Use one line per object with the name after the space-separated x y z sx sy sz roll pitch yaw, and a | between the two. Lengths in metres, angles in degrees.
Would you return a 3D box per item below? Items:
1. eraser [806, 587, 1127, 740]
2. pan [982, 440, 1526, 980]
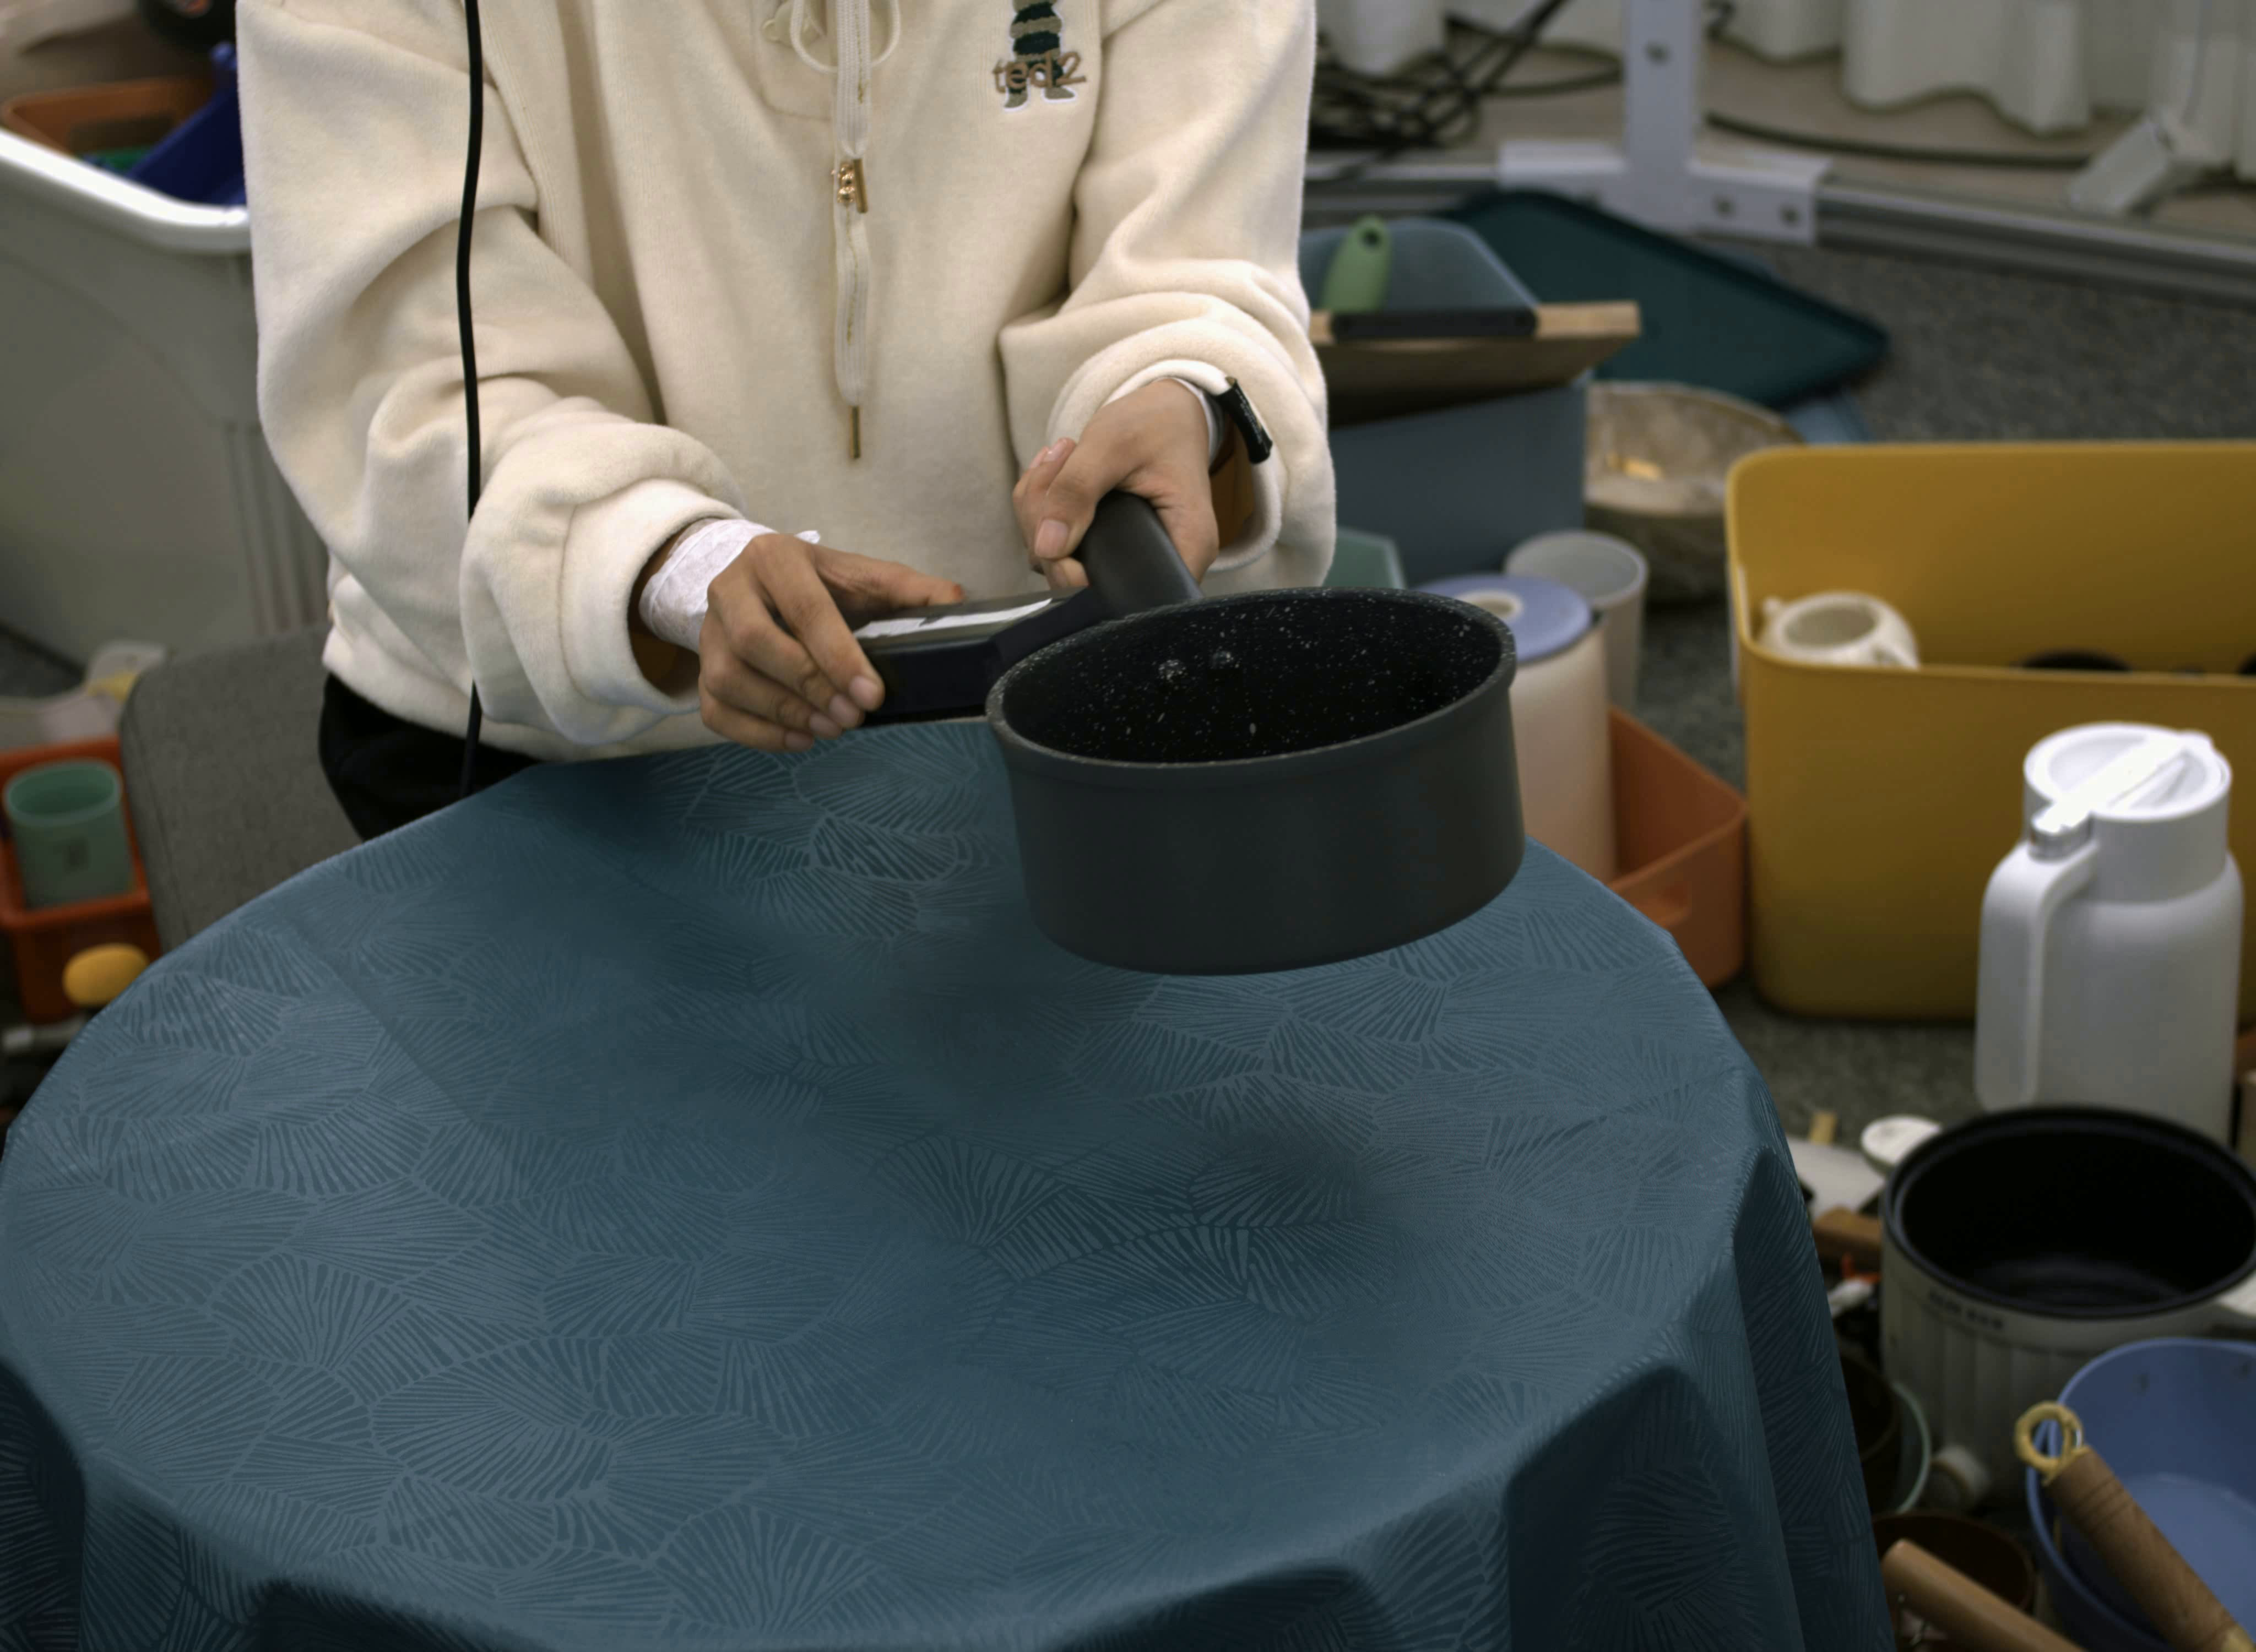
-0.055 -0.055 1.918 0.054 0.030 0.124 -26 10 -34 | eraser
0.027 -0.043 1.885 0.172 0.086 0.331 -11 21 -7 | pan
